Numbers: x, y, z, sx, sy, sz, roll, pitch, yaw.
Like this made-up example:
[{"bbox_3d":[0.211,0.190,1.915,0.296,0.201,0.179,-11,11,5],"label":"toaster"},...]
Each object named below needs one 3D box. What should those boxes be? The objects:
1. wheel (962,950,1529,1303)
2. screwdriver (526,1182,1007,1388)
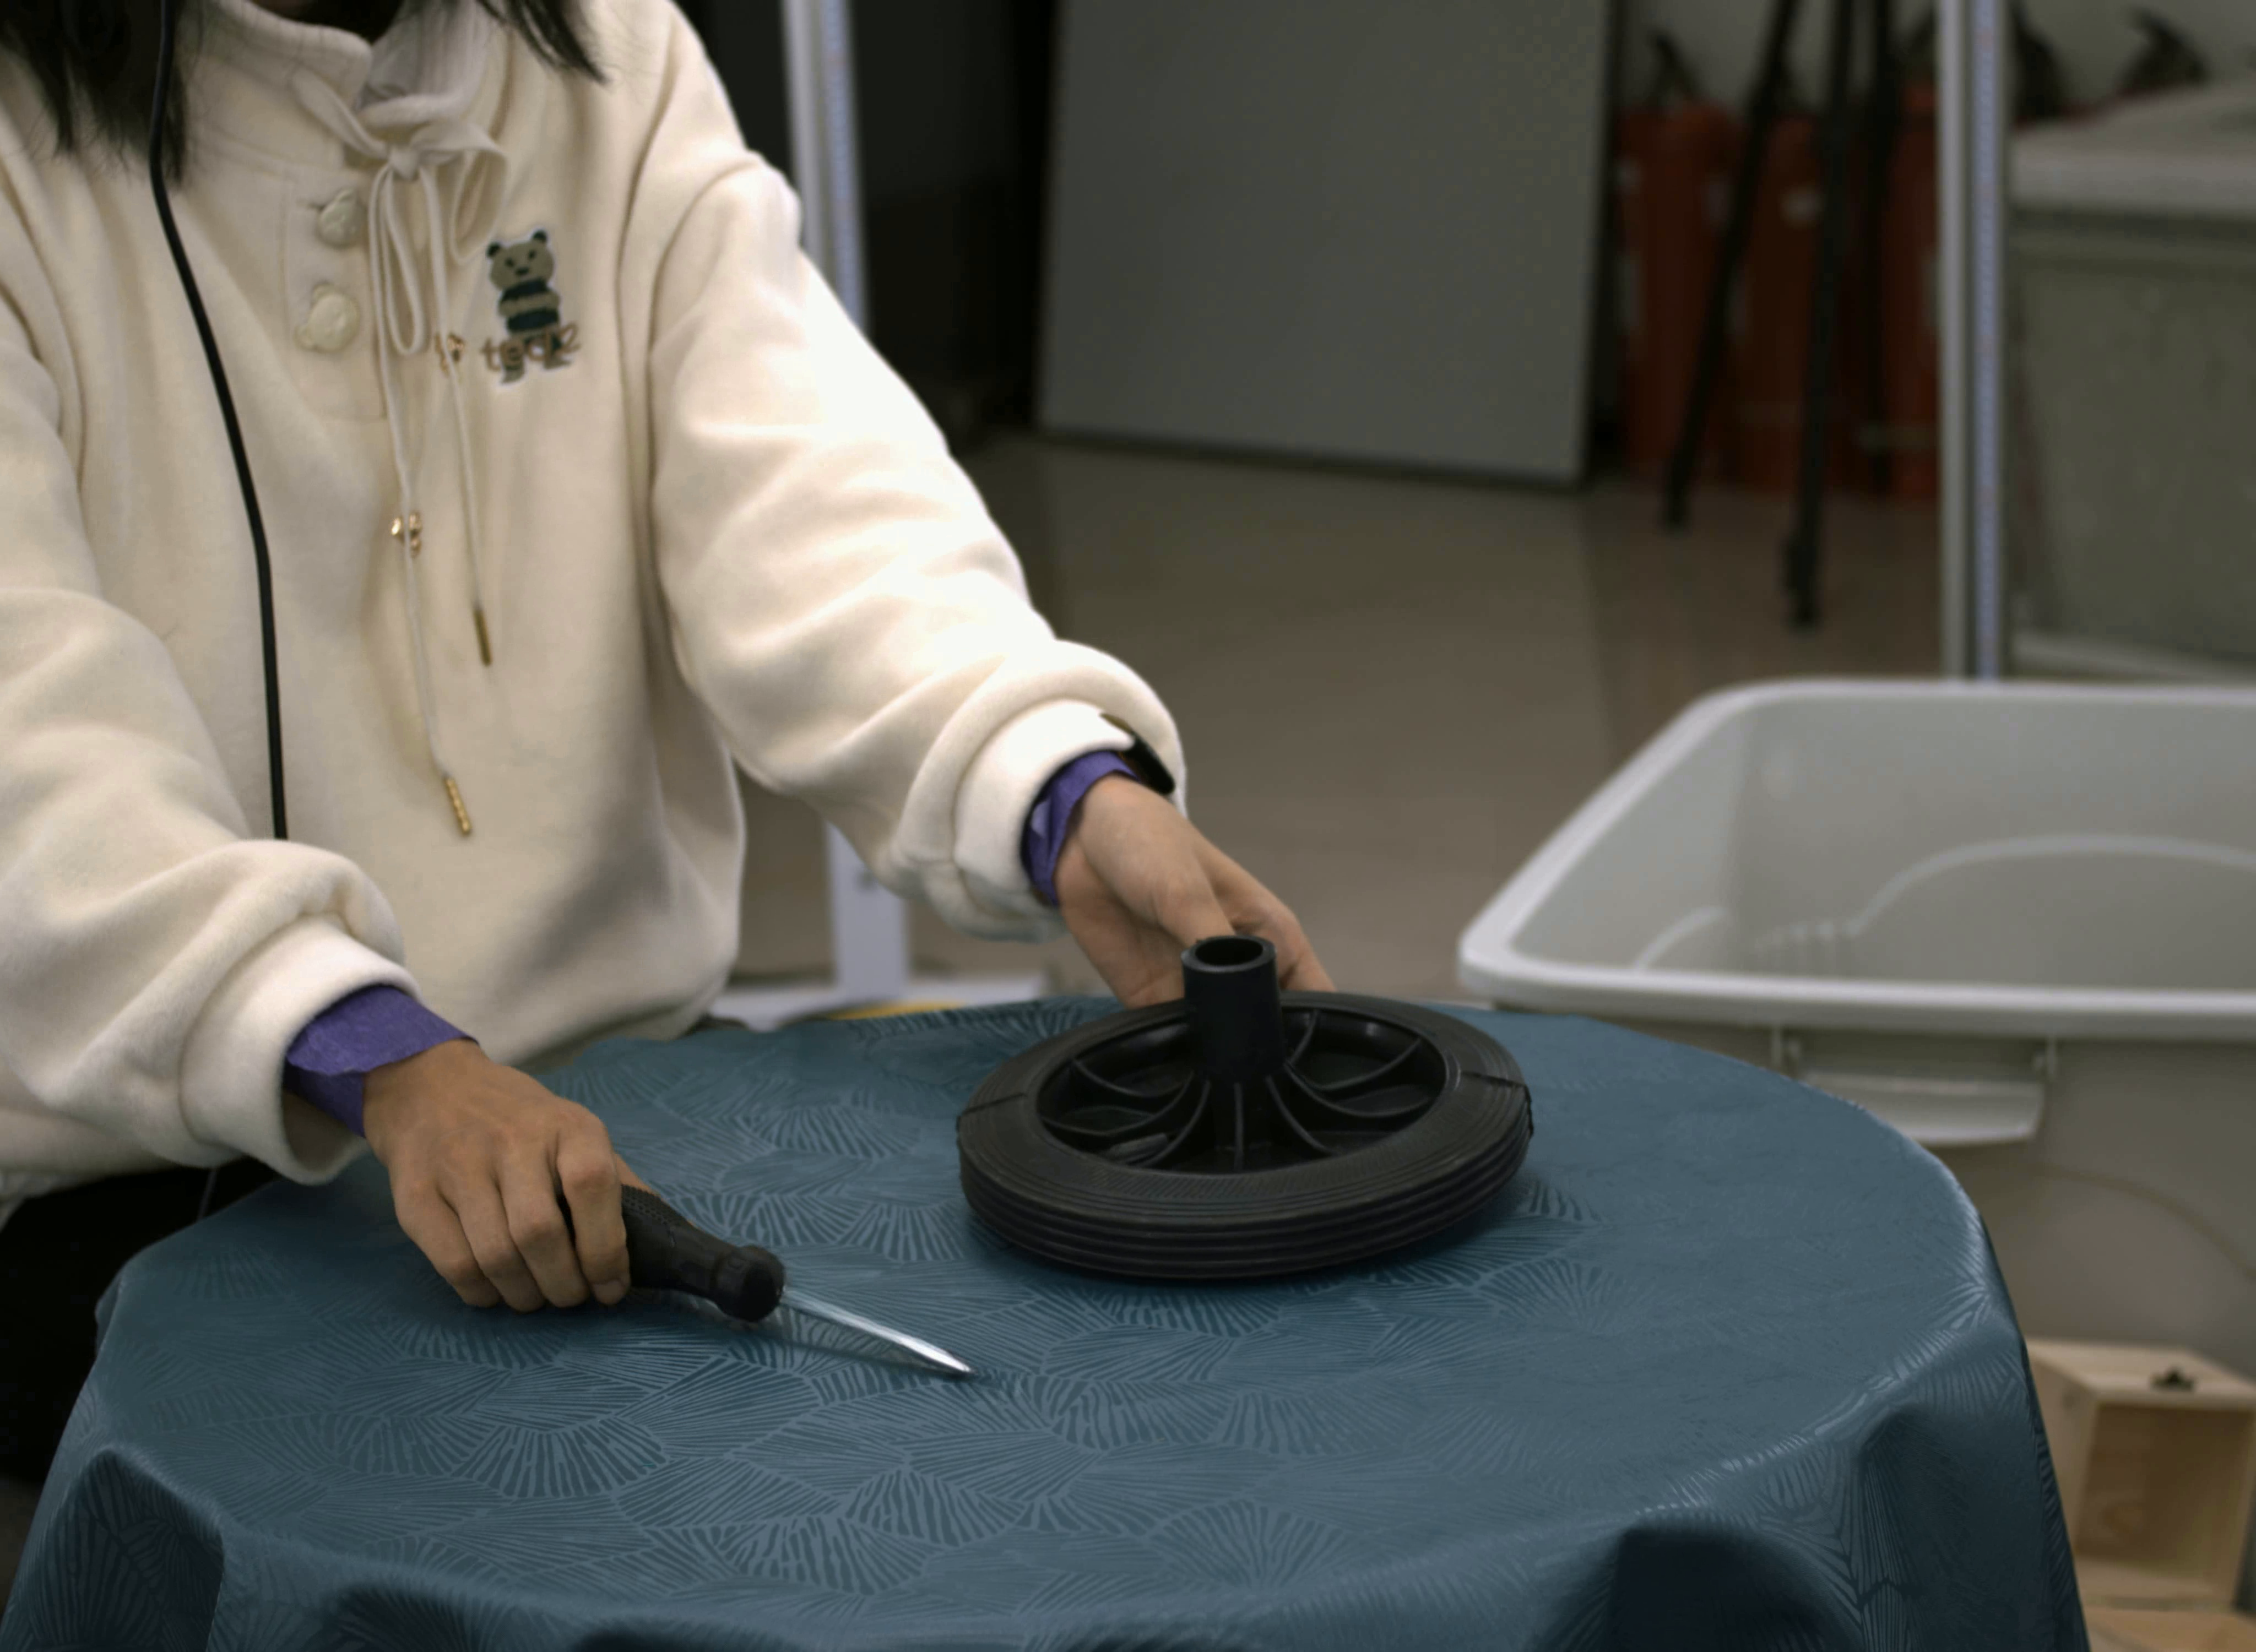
[{"bbox_3d":[0.035,0.083,1.741,0.189,0.080,0.186,12,29,40],"label":"wheel"},{"bbox_3d":[-0.114,0.144,1.653,0.199,0.032,0.031,16,23,42],"label":"screwdriver"}]
